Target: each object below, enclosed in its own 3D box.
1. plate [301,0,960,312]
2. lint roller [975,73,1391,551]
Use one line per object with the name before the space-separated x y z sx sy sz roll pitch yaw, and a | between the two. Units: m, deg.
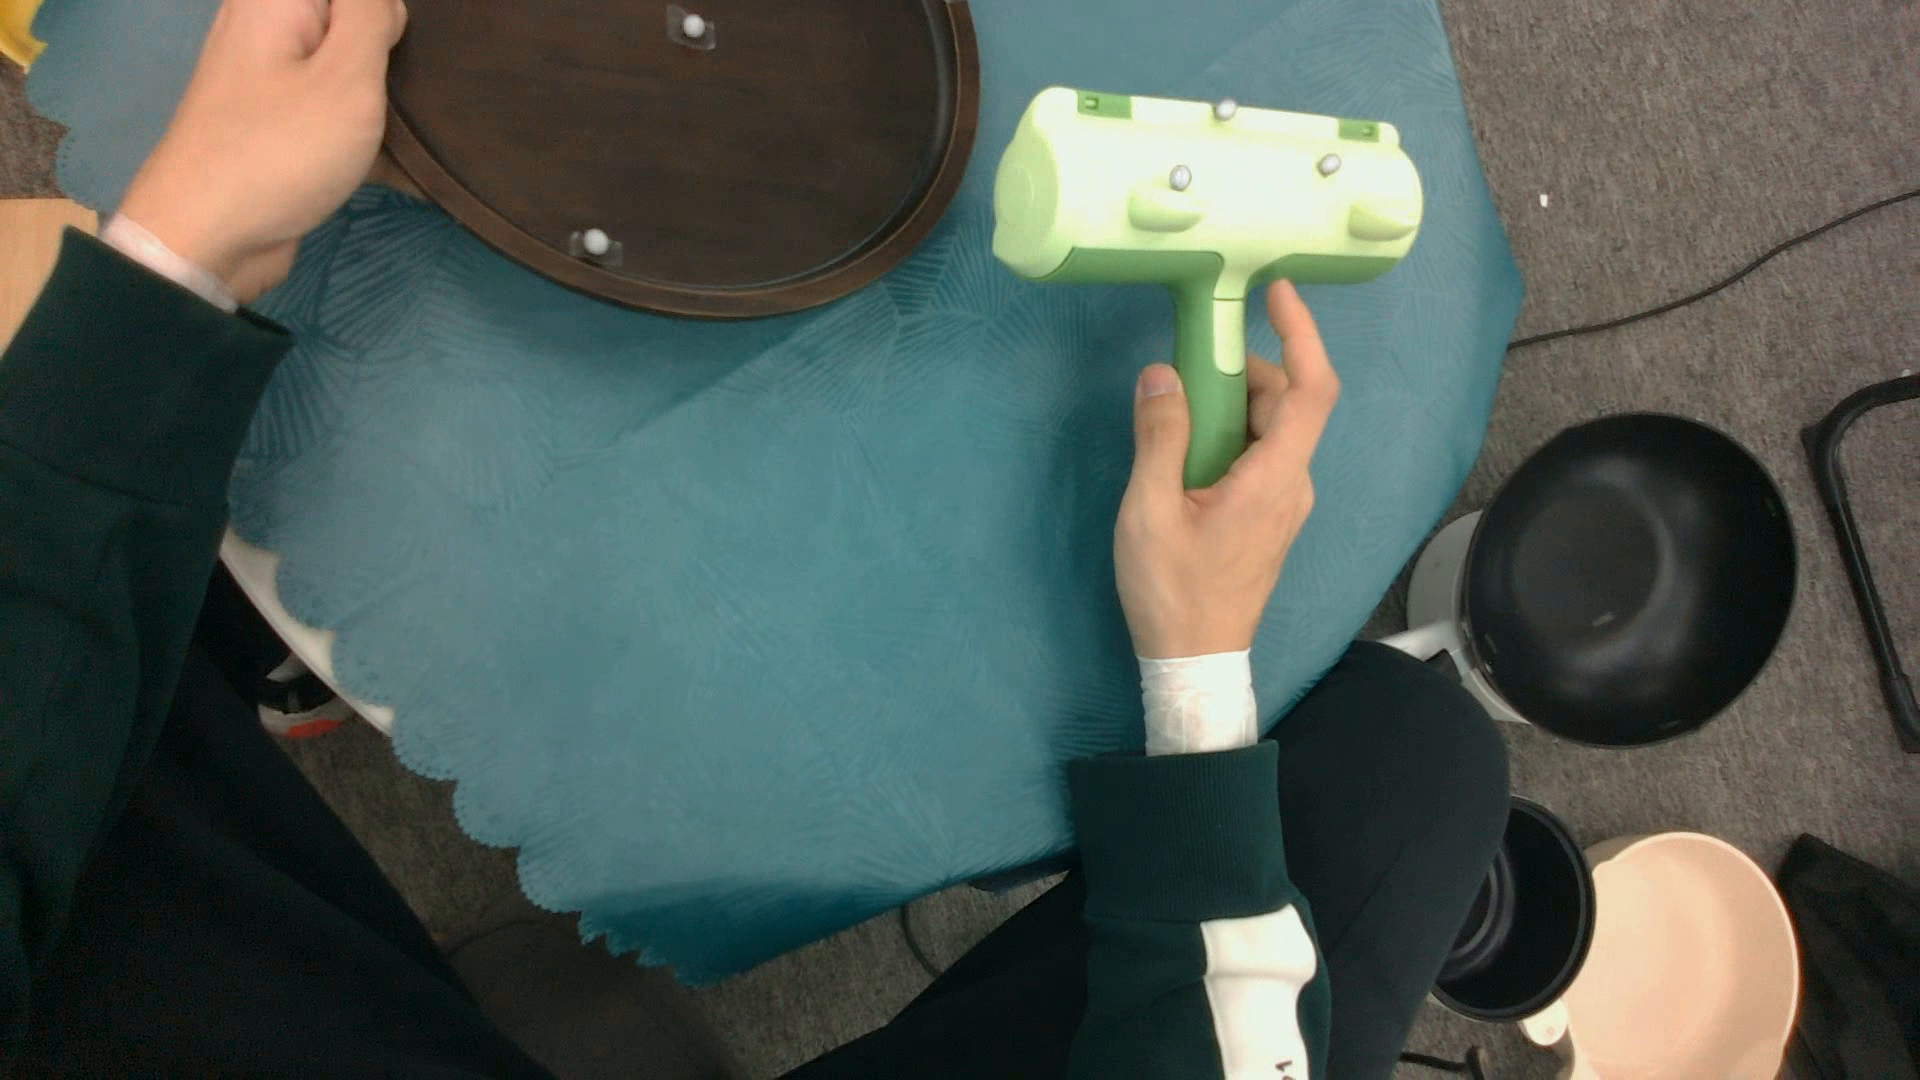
plate | -0.119 -0.205 0.538 0.255 0.029 0.255 8 71 -23
lint roller | 0.104 -0.086 0.551 0.199 0.082 0.183 -8 95 -36
